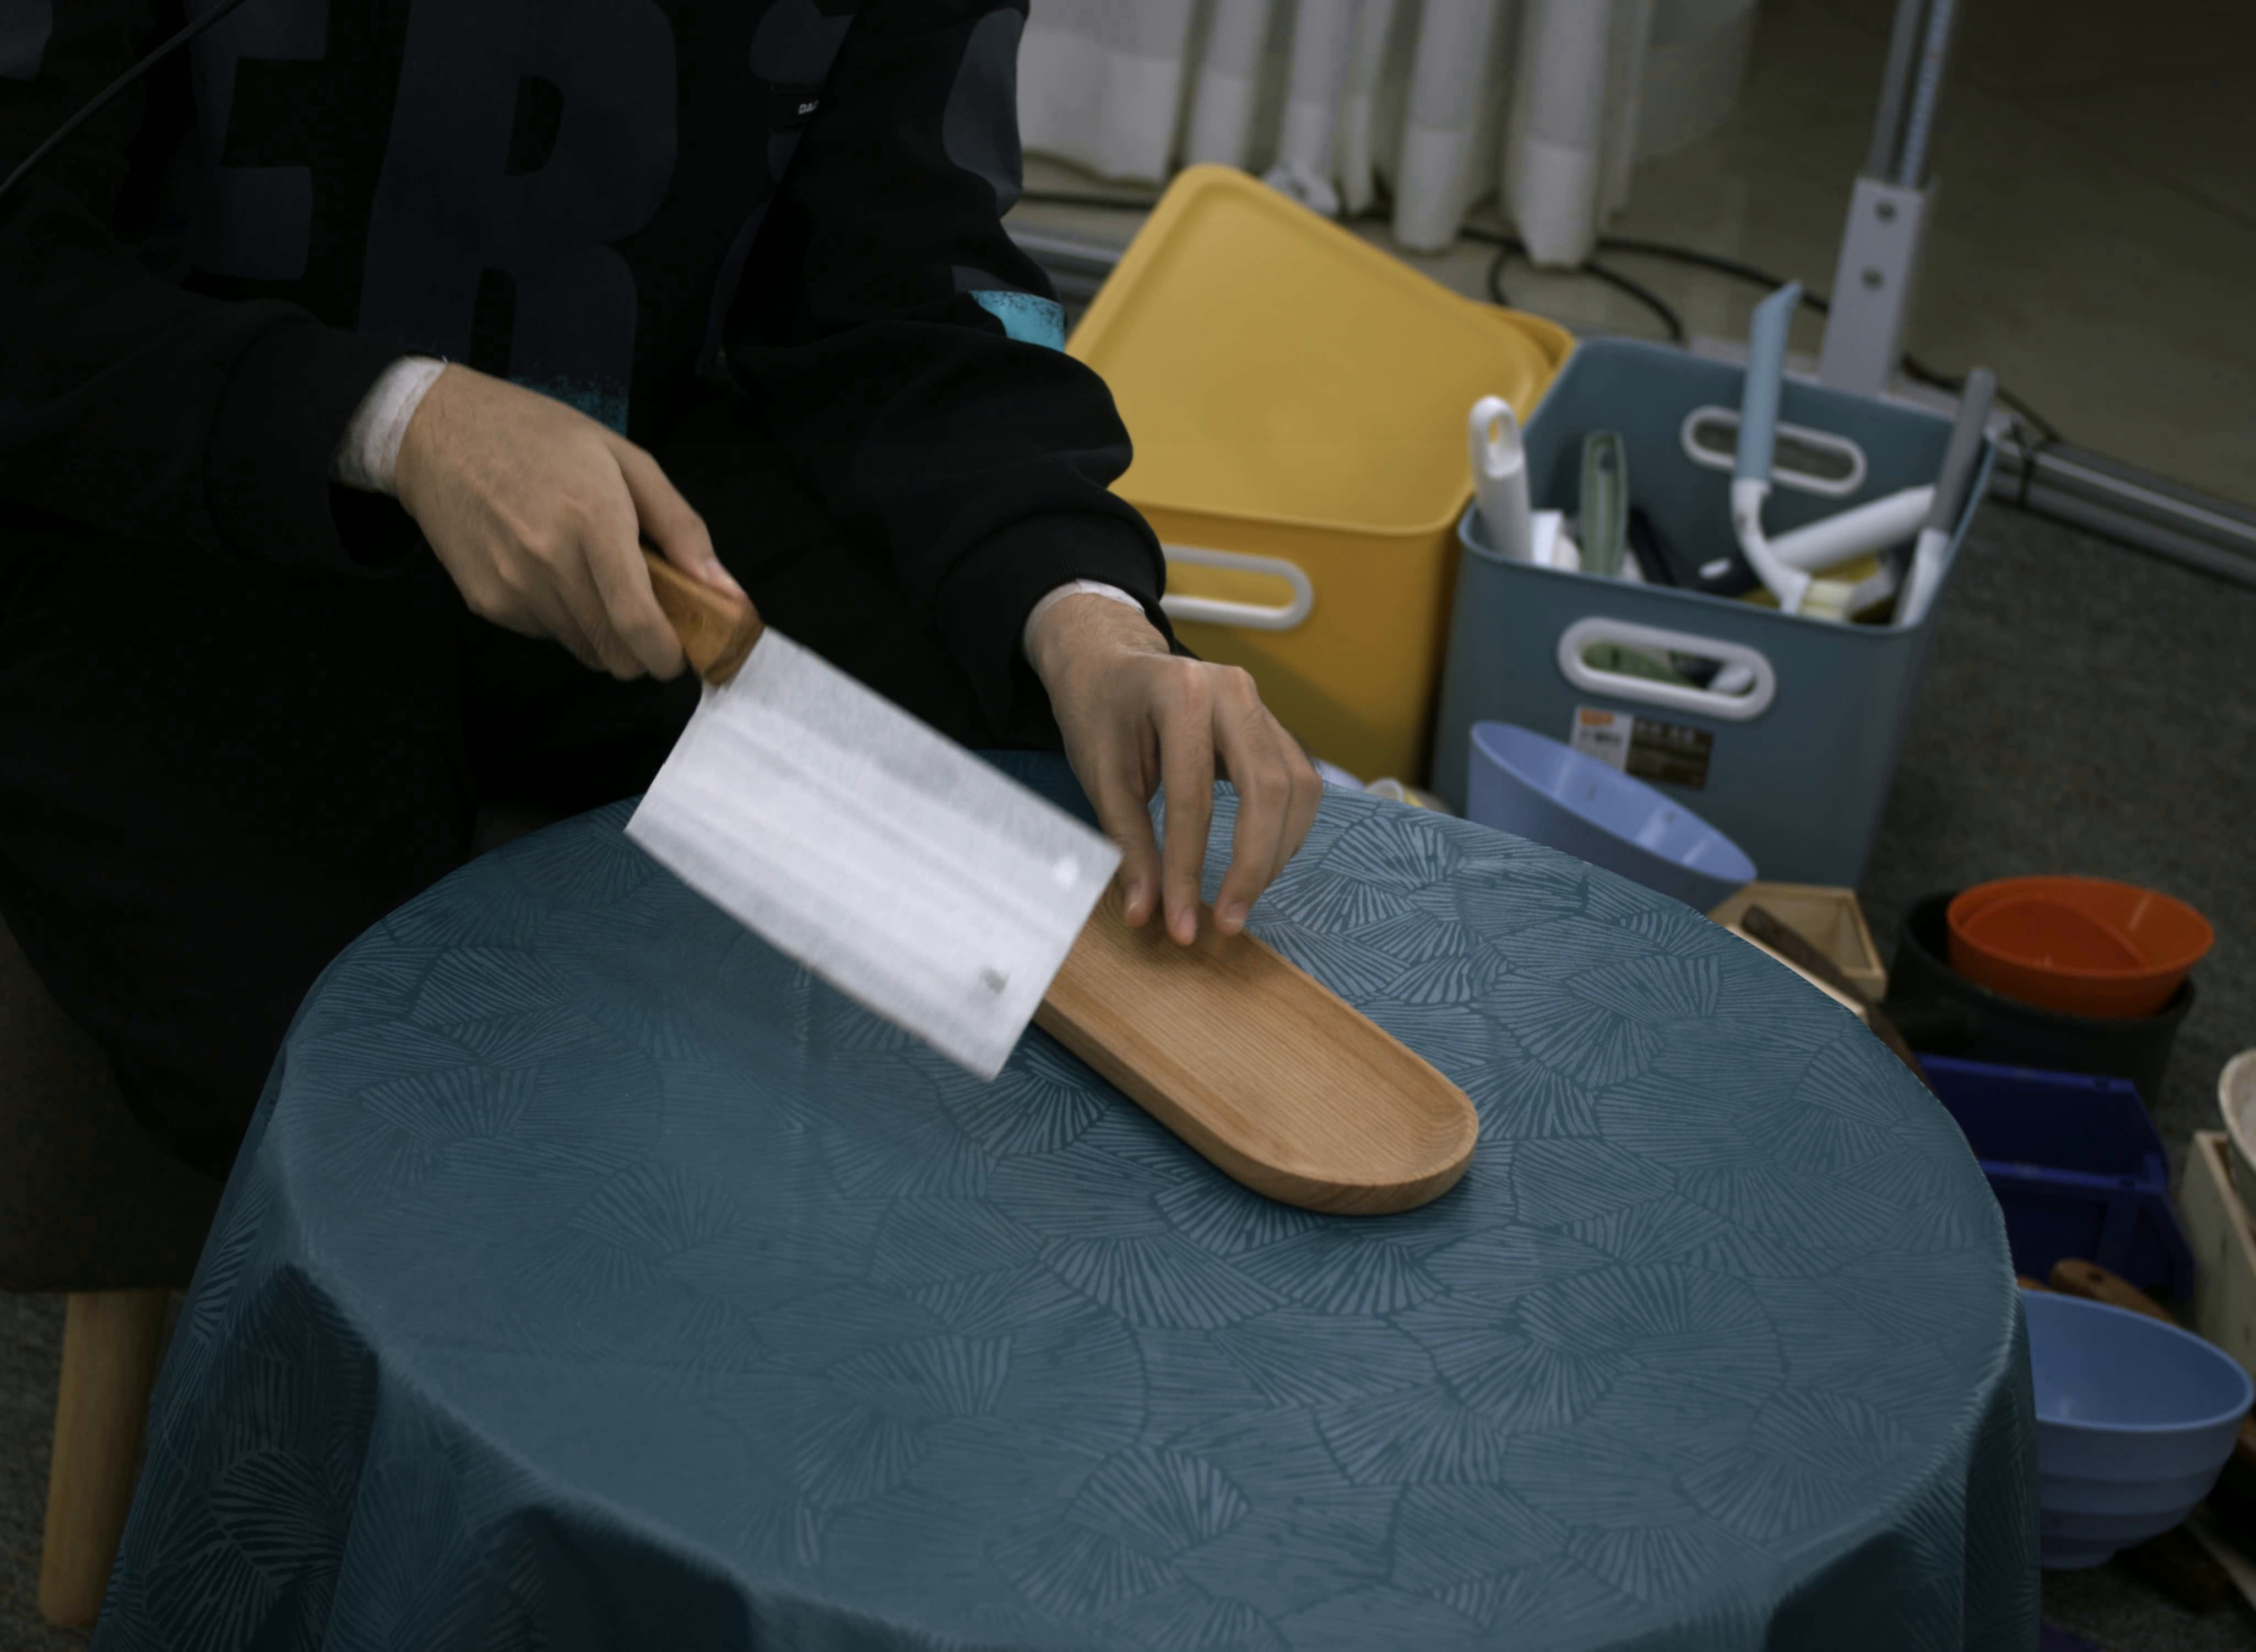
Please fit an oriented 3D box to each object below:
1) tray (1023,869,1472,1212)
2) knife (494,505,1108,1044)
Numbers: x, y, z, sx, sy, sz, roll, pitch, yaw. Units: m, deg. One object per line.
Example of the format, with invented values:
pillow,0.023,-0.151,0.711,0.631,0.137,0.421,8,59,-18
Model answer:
tray,0.031,0.074,1.887,0.101,0.020,0.233,-12,32,-34
knife,-0.131,-0.017,1.863,0.308,0.093,0.021,33,3,35
